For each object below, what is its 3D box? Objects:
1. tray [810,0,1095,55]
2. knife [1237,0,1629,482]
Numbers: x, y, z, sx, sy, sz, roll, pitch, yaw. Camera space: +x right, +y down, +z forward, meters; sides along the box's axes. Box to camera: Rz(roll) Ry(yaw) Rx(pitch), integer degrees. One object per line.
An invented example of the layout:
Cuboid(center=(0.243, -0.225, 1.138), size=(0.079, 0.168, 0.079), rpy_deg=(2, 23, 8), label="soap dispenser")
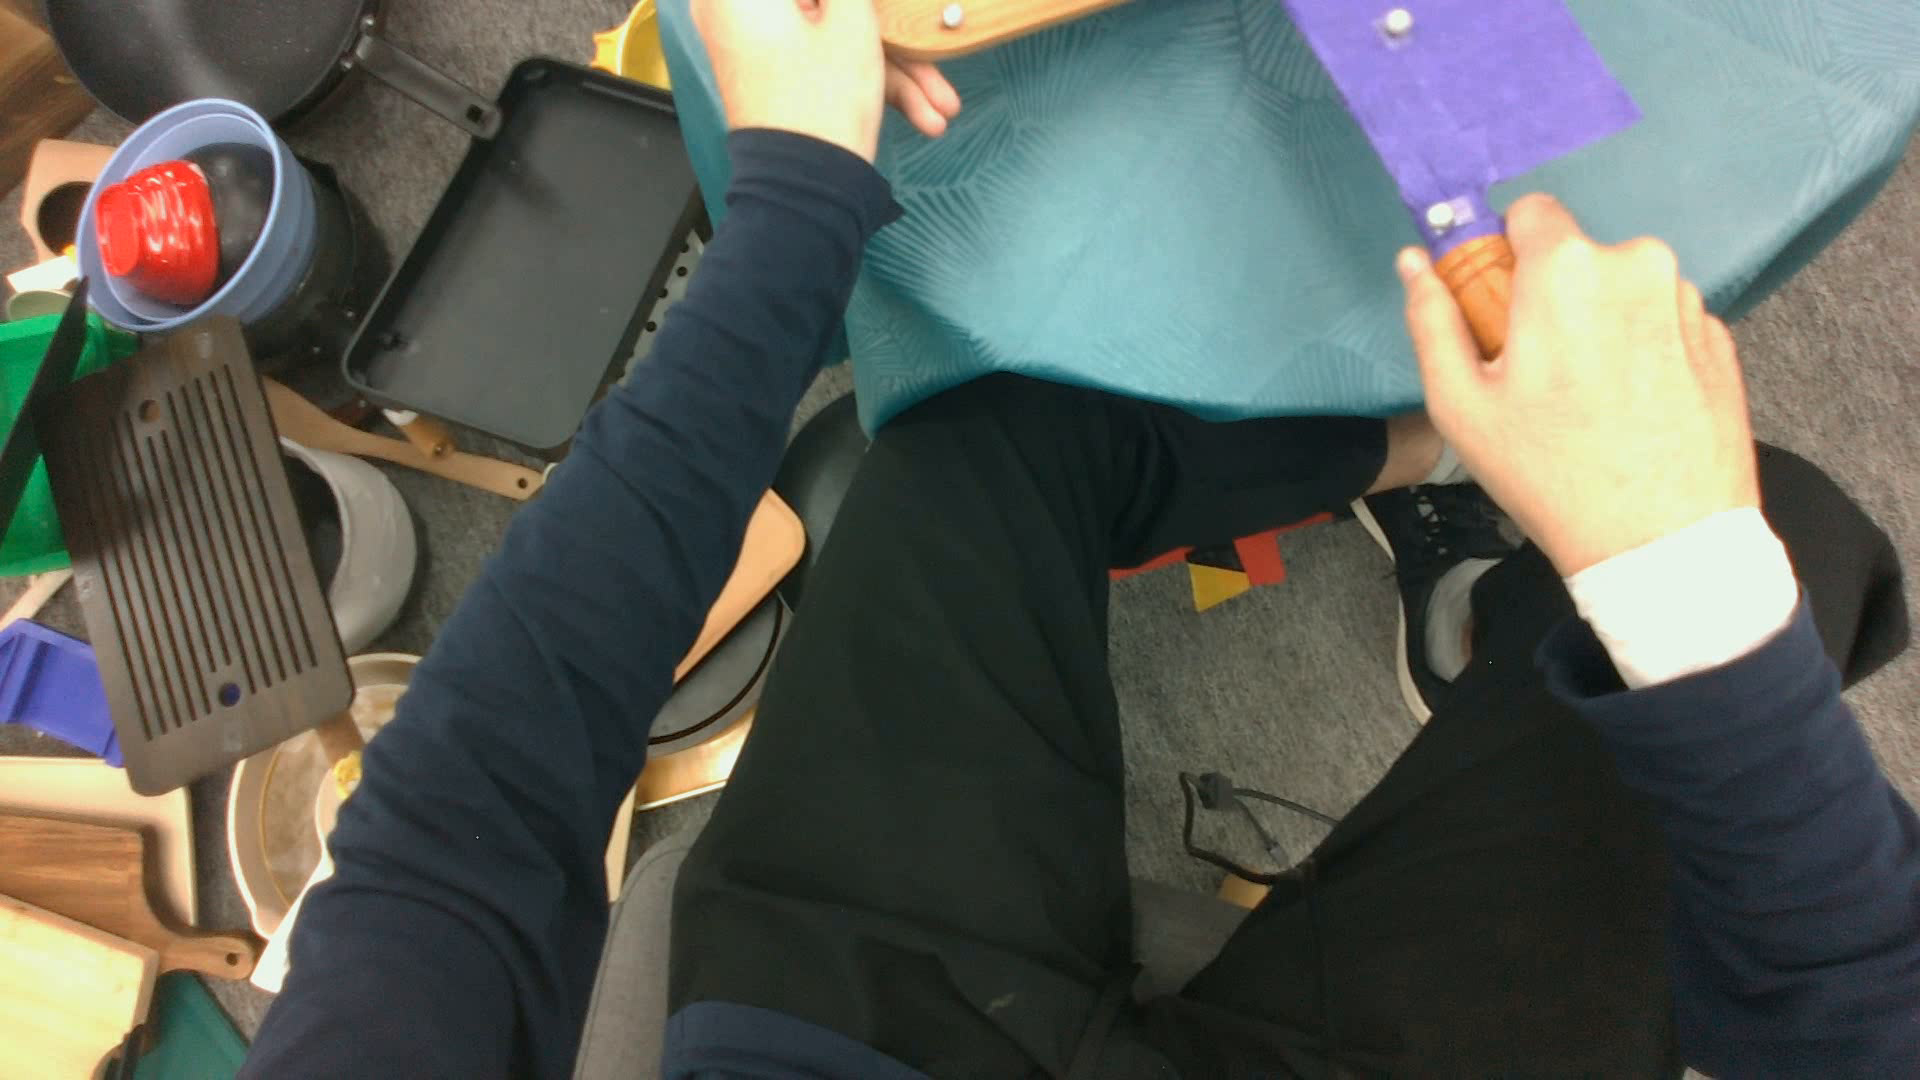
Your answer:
Cuboid(center=(0.035, -0.264, 0.555), size=(0.232, 0.020, 0.101), rpy_deg=(-26, 90, -19), label="tray")
Cuboid(center=(0.154, -0.172, 0.480), size=(0.104, 0.032, 0.315), rpy_deg=(-26, 79, -14), label="knife")
